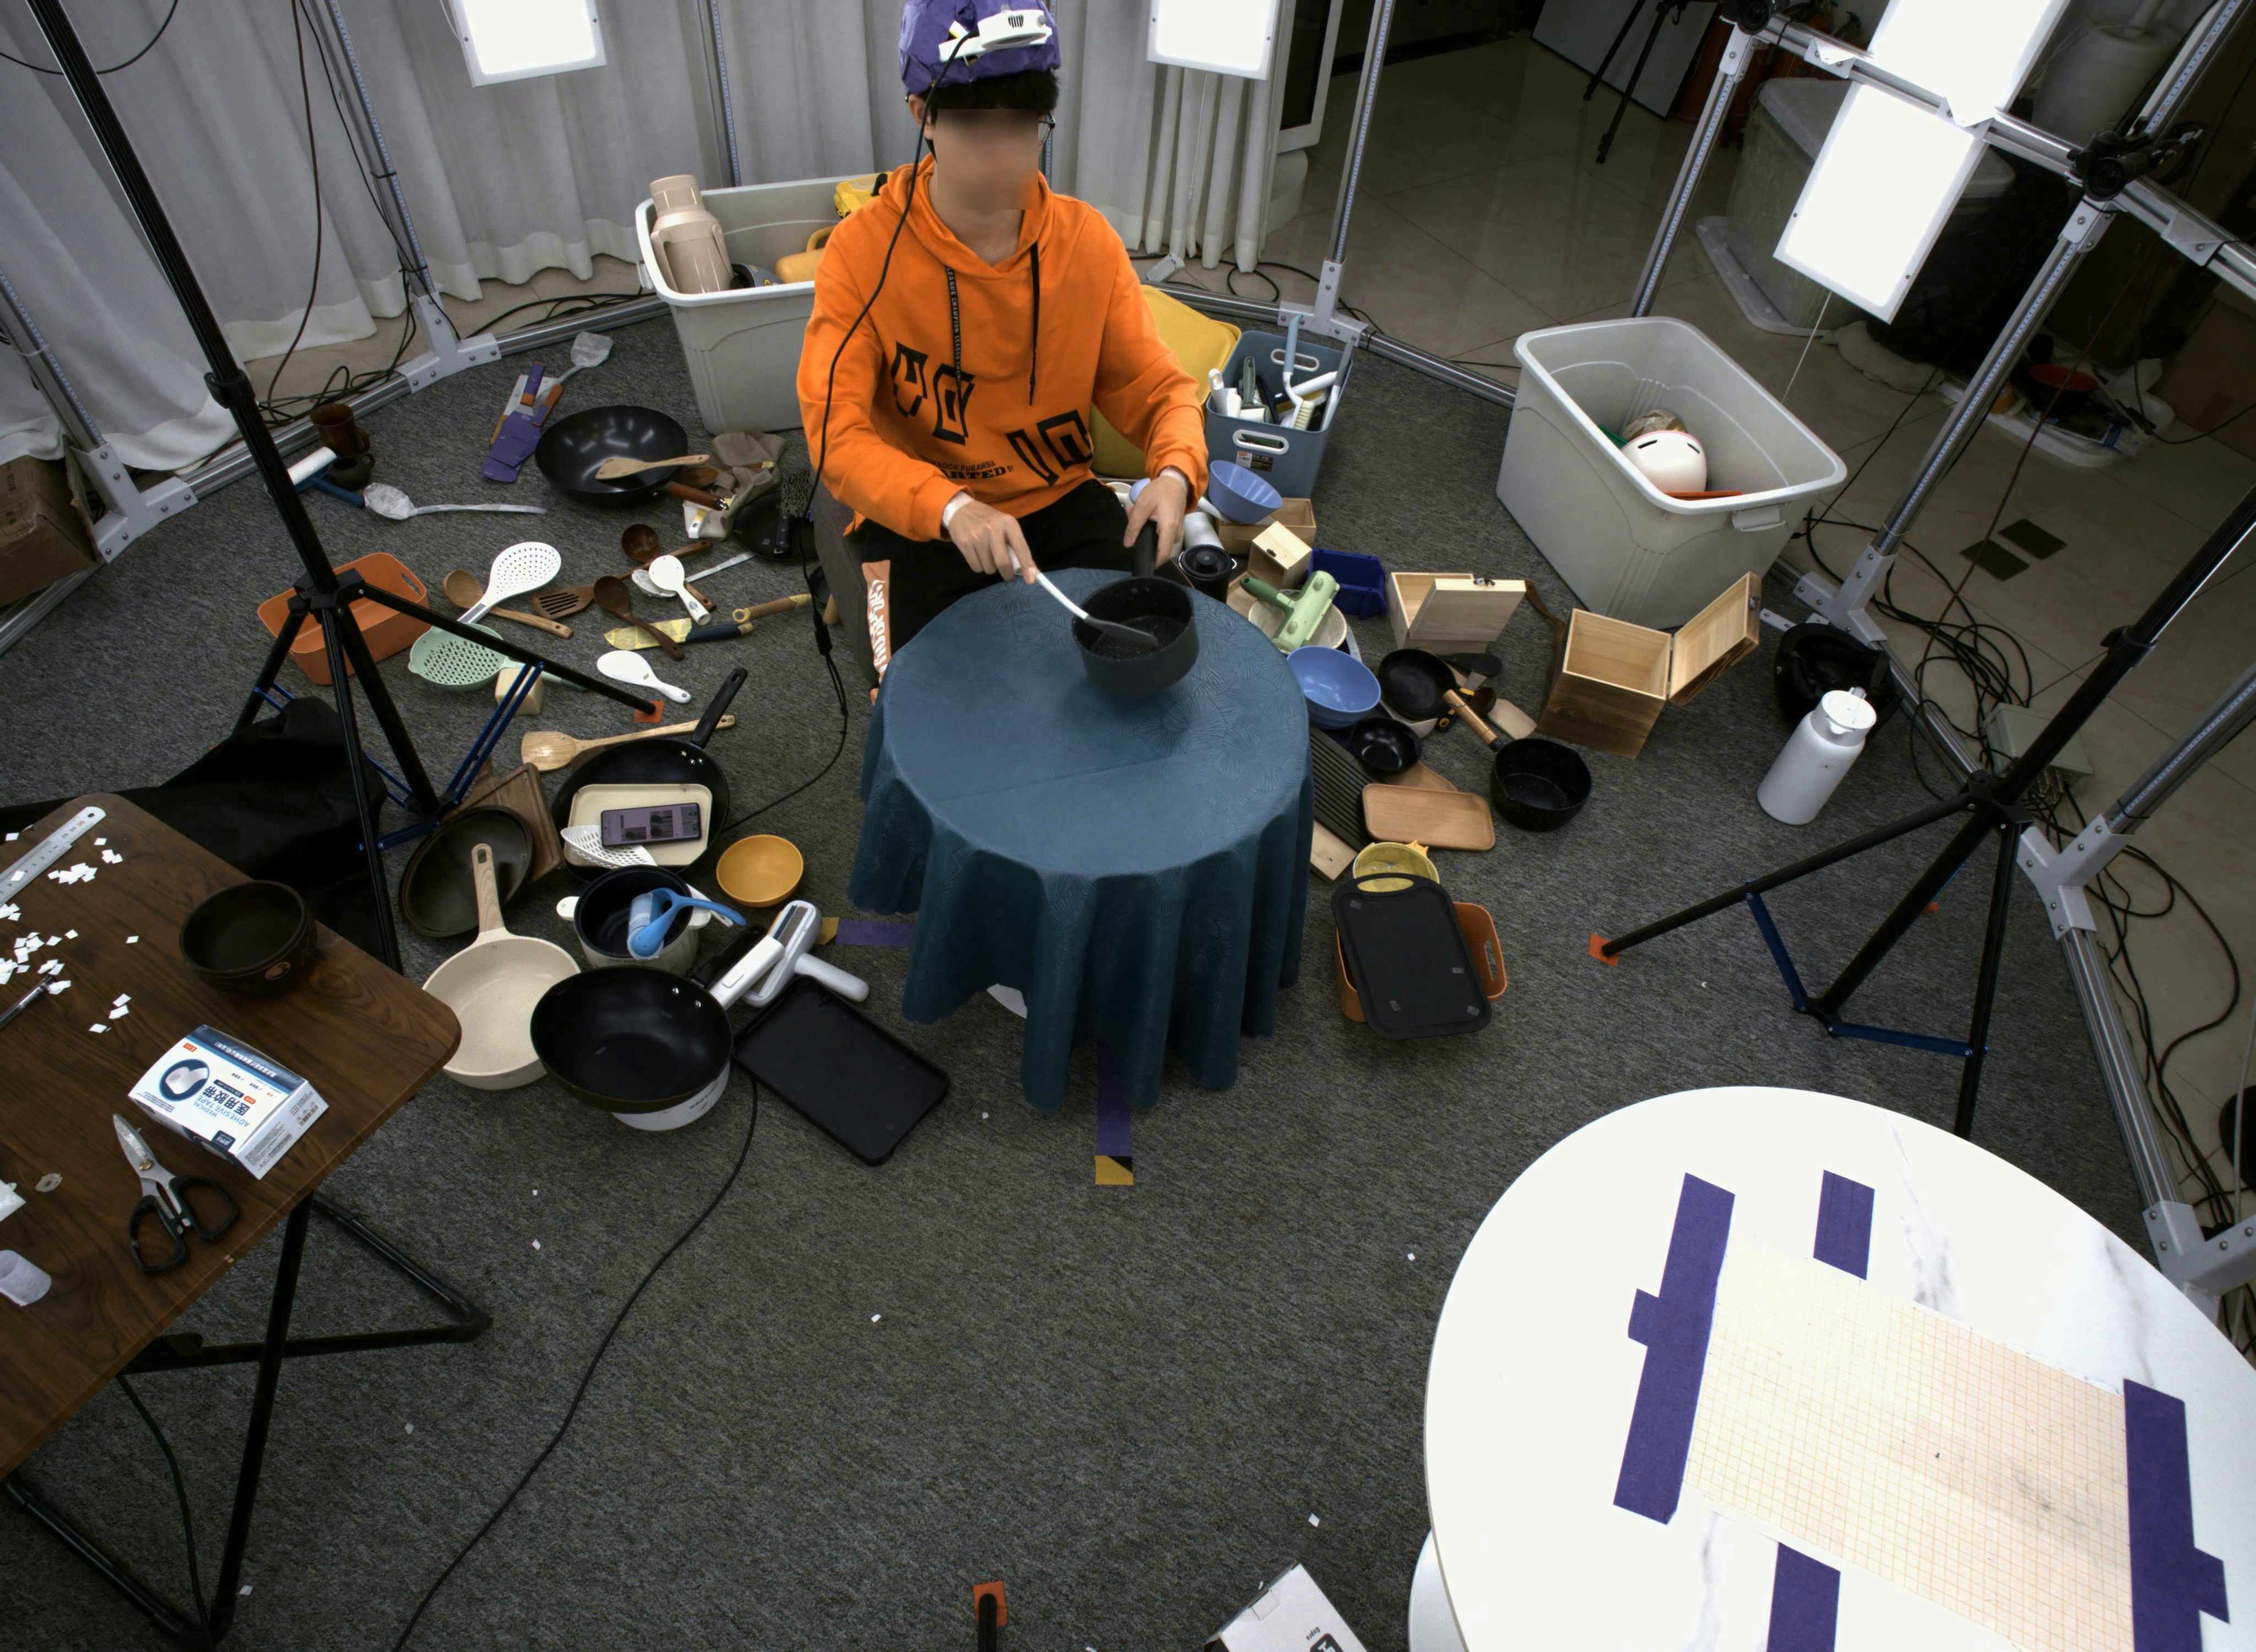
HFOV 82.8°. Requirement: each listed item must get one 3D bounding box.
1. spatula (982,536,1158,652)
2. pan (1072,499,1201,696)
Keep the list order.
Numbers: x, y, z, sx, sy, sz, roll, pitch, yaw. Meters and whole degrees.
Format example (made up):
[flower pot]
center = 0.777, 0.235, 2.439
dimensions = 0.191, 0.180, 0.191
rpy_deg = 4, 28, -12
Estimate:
[spatula]
center = -0.079, -0.308, 1.742
dimensions = 0.290, 0.058, 0.032
rpy_deg = 35, 81, 18
[pan]
center = 0.024, -0.327, 1.827
dimensions = 0.172, 0.084, 0.336
rpy_deg = 0, 51, 14
